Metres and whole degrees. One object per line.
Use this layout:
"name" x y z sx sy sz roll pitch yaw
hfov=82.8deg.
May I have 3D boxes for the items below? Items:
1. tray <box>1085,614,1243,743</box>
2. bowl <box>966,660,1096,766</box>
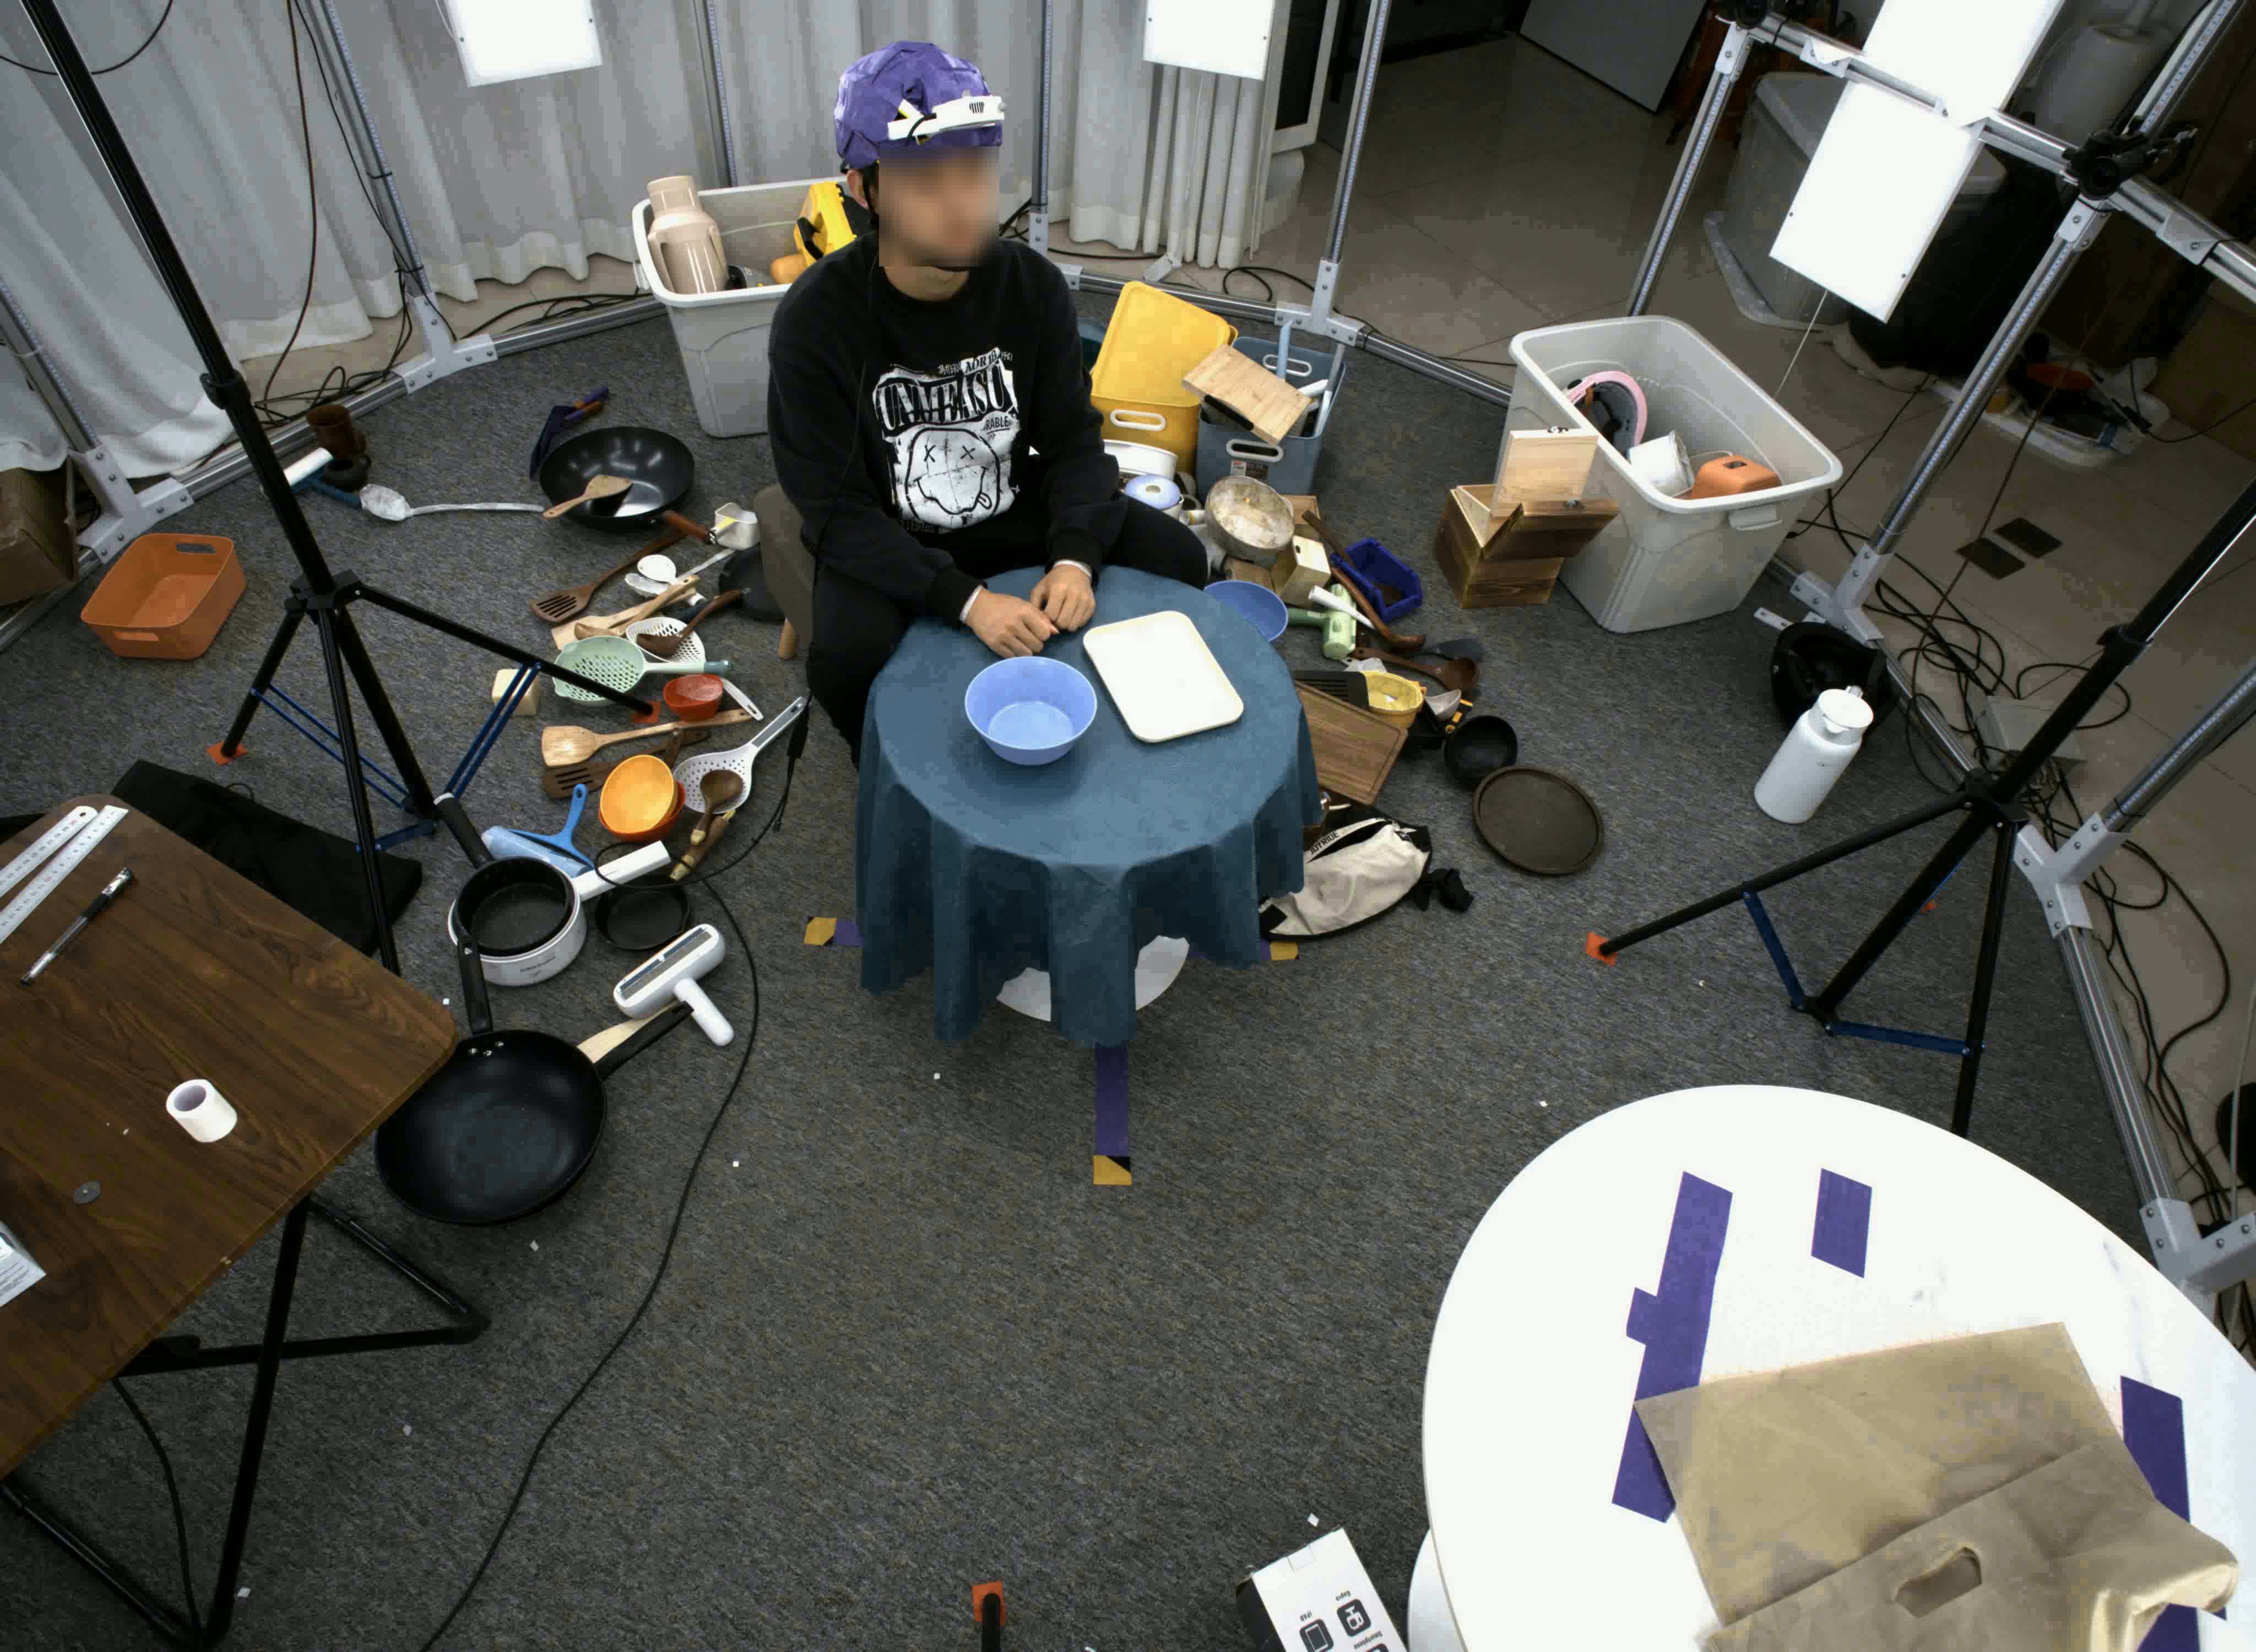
"tray" 0.050 -0.215 1.864 0.171 0.017 0.245 -15 51 -17
"bowl" -0.132 -0.145 1.756 0.176 0.068 0.180 2 48 -3
